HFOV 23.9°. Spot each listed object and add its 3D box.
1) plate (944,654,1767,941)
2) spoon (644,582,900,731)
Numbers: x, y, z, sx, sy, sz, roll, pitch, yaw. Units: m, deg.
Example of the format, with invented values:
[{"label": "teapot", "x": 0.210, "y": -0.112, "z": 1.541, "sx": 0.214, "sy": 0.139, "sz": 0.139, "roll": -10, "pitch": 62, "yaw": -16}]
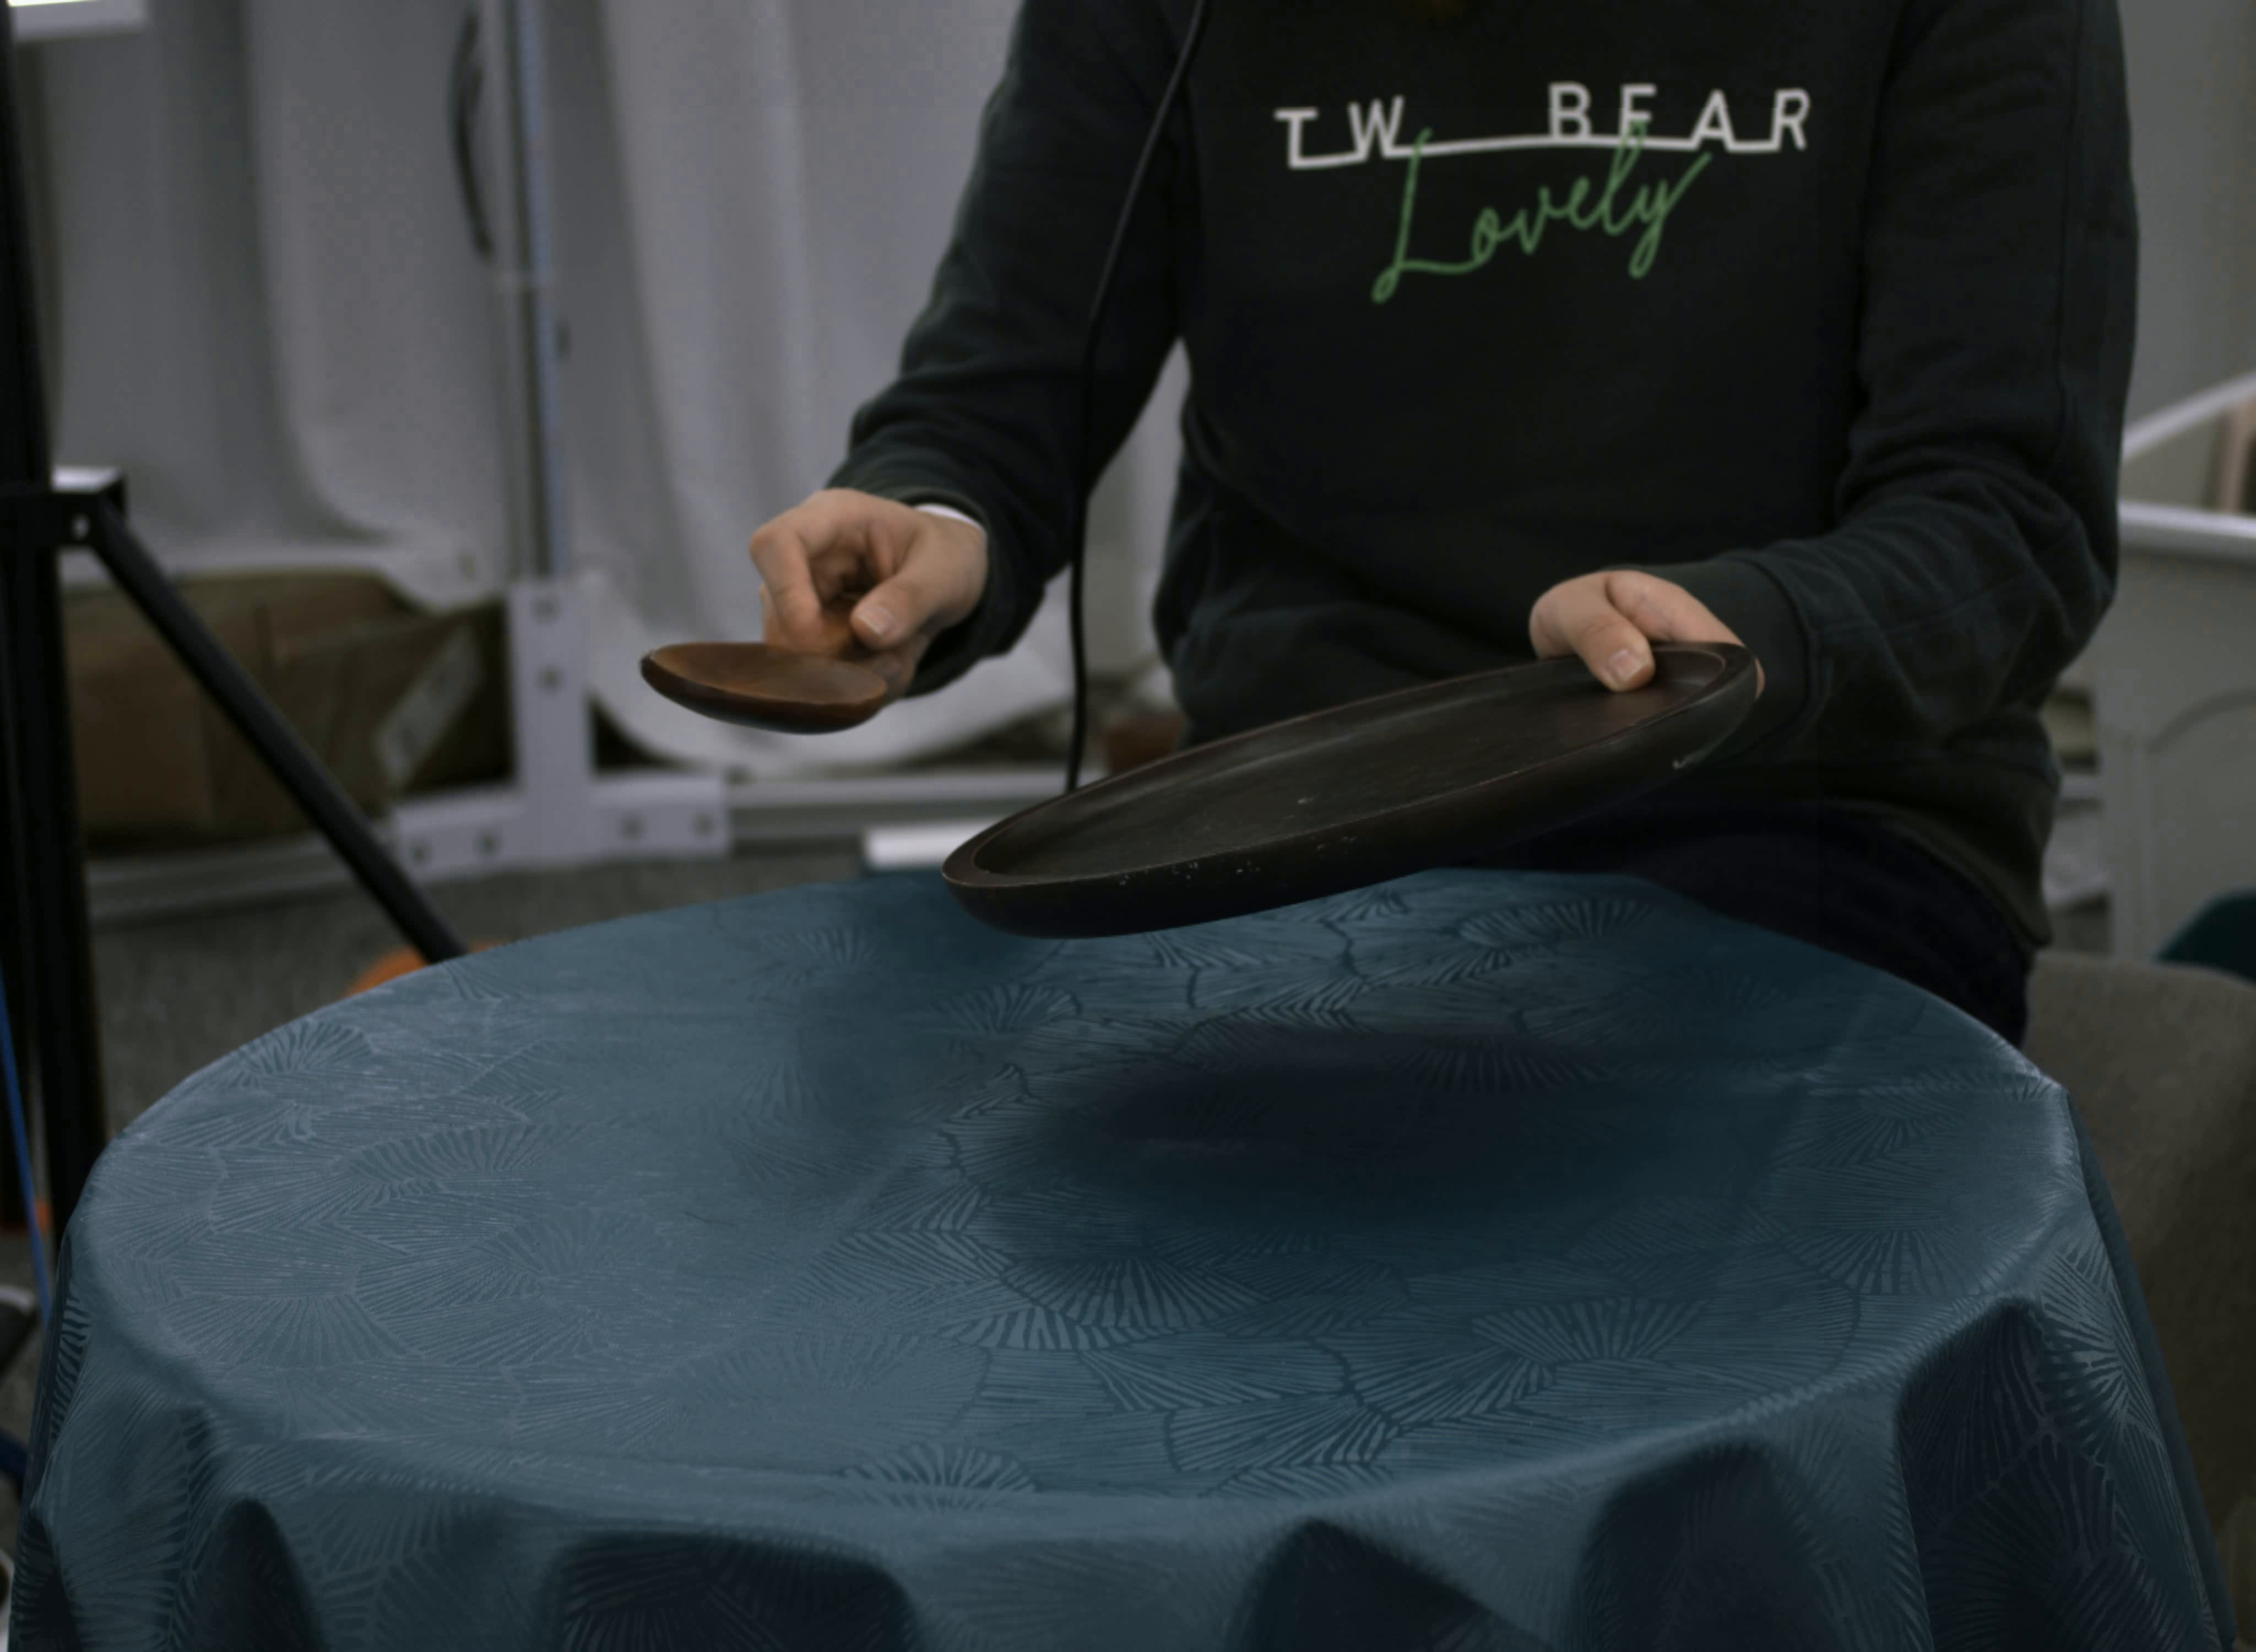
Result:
[{"label": "plate", "x": 0.069, "y": -0.010, "z": 1.591, "sx": 0.254, "sy": 0.029, "sz": 0.255, "roll": -15, "pitch": 9, "yaw": 1}, {"label": "spoon", "x": -0.102, "y": -0.054, "z": 1.702, "sx": 0.075, "sy": 0.017, "sz": 0.215, "roll": 10, "pitch": 12, "yaw": 7}]
